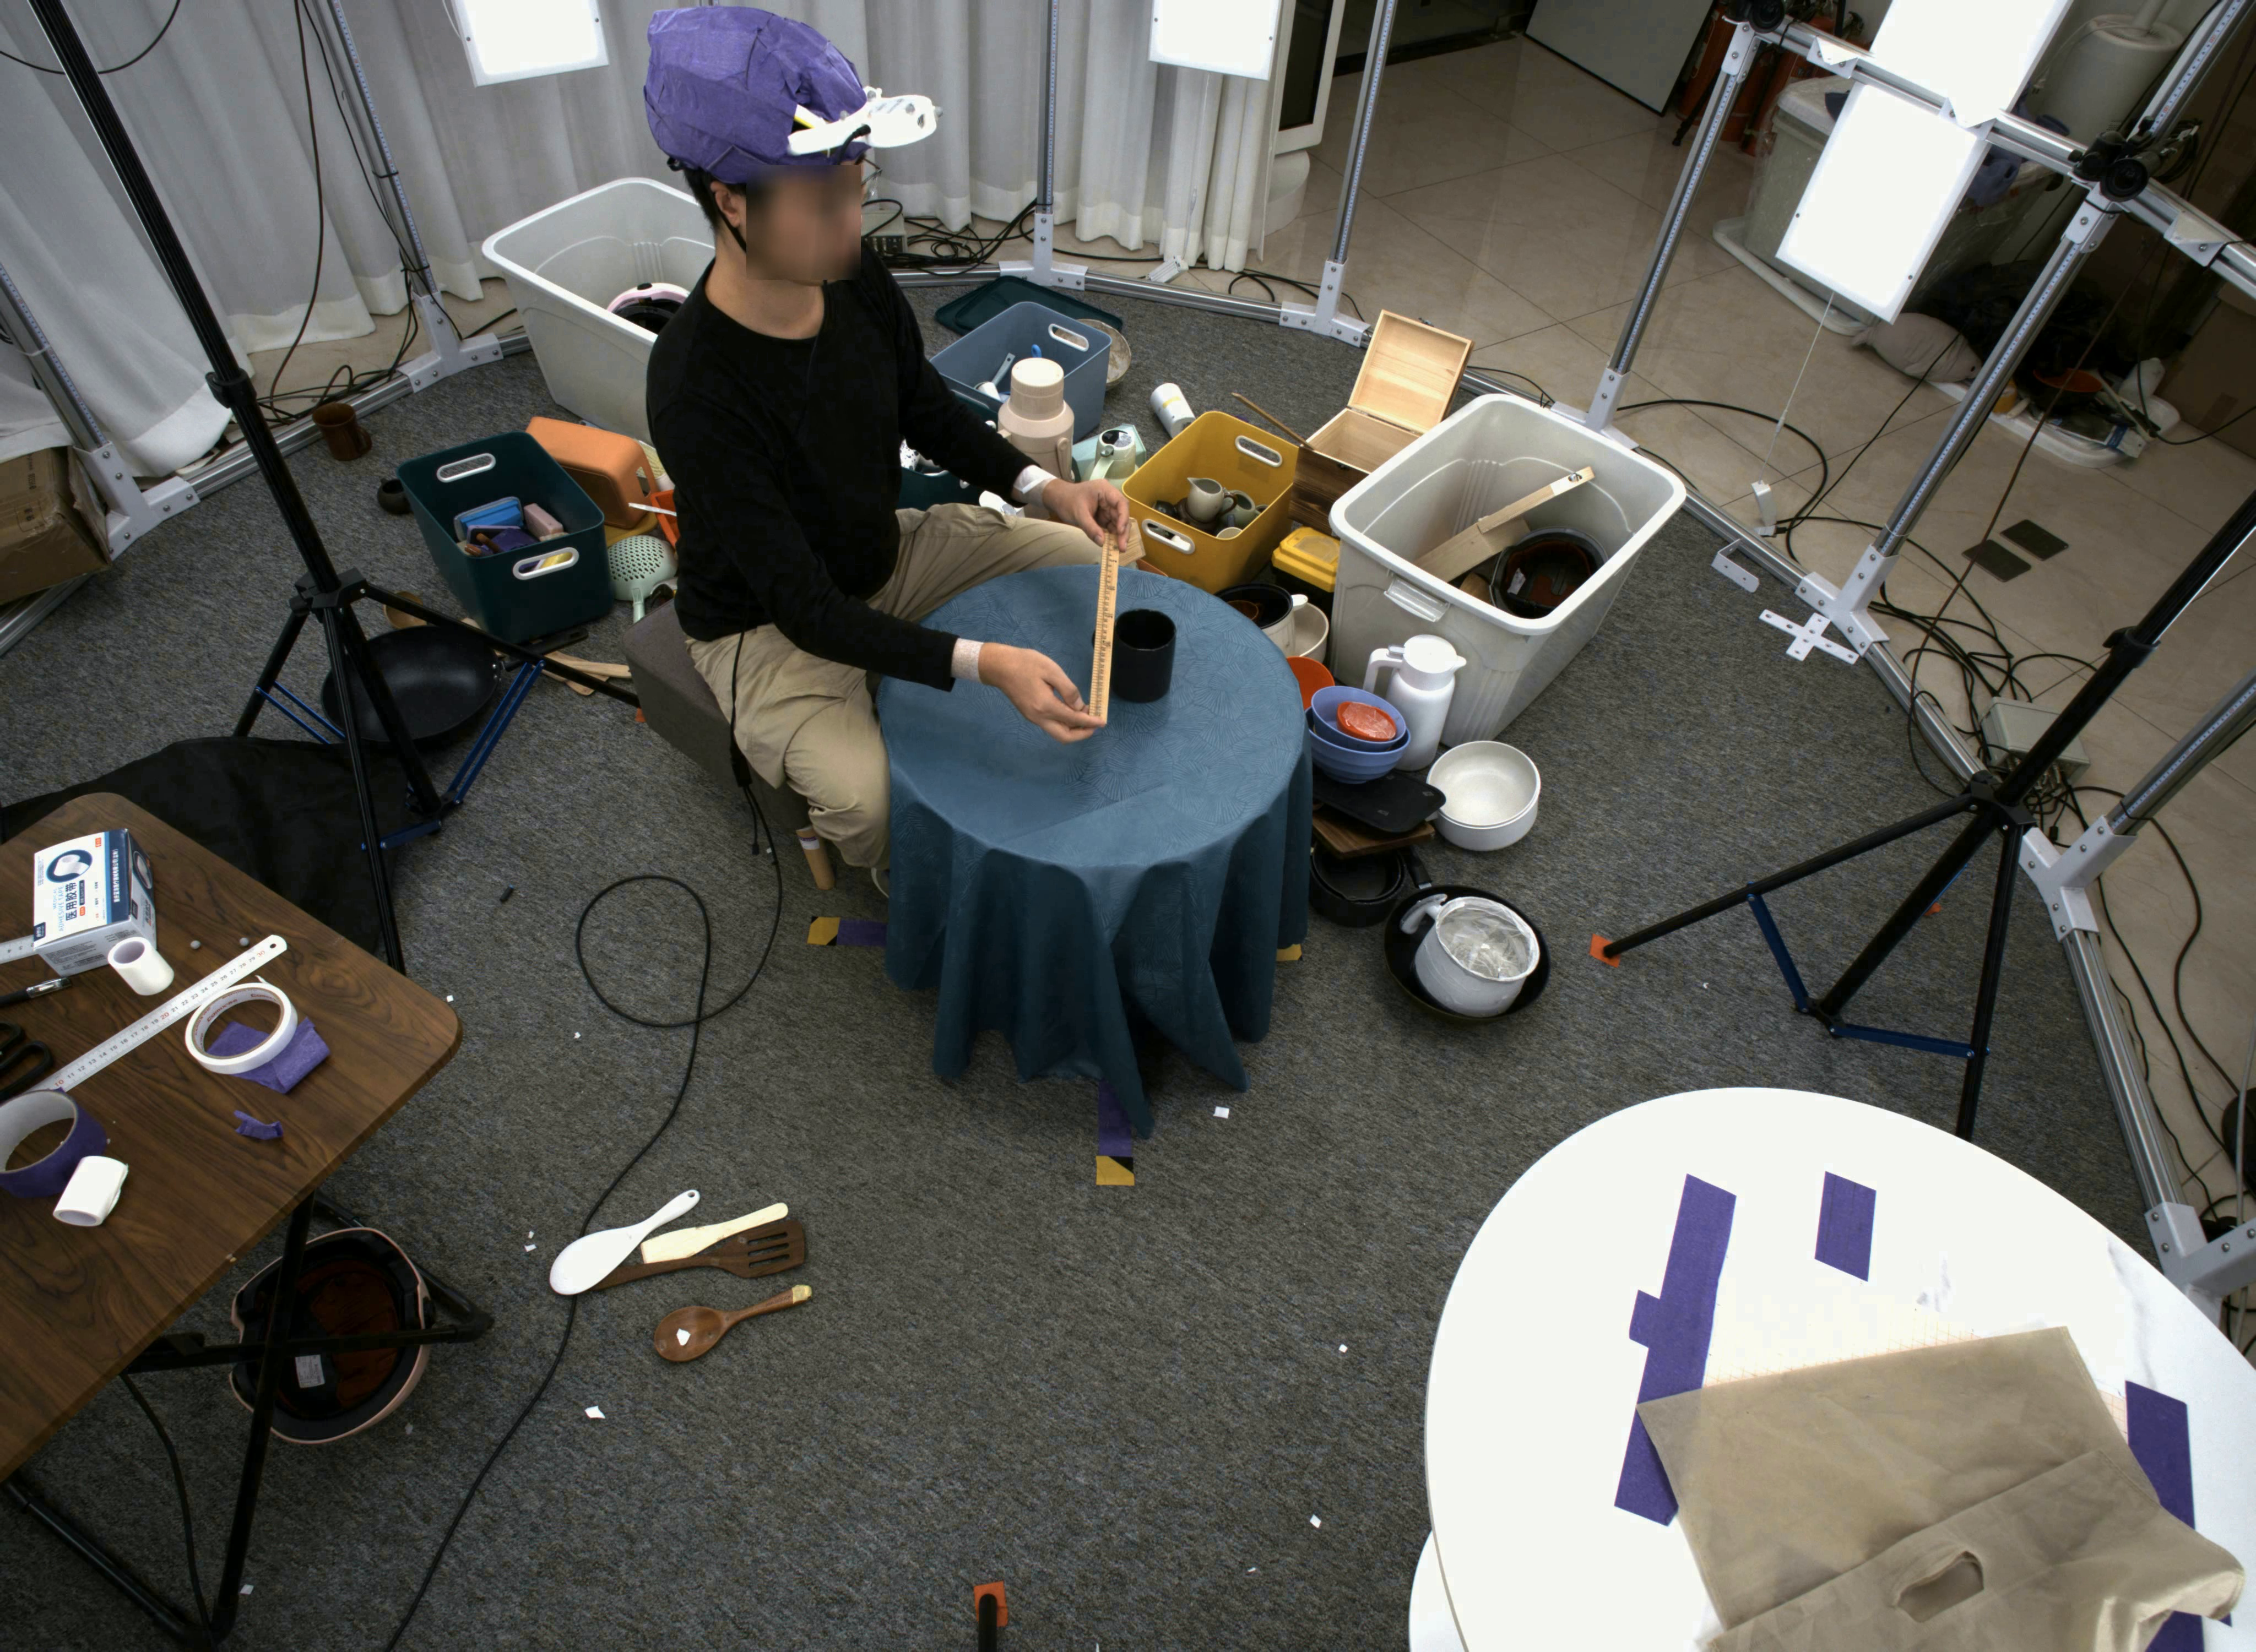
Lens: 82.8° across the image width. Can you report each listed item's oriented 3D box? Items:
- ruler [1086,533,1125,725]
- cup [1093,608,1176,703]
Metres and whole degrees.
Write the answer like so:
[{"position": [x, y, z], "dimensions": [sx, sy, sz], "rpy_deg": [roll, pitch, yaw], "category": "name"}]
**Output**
[{"position": [-0.029, -0.280, 1.770], "dimensions": [0.027, 0.022, 0.339], "rpy_deg": [15, 56, -14], "category": "ruler"}, {"position": [0.005, -0.248, 1.818], "dimensions": [0.124, 0.103, 0.090], "rpy_deg": [26, 54, 16], "category": "cup"}]
